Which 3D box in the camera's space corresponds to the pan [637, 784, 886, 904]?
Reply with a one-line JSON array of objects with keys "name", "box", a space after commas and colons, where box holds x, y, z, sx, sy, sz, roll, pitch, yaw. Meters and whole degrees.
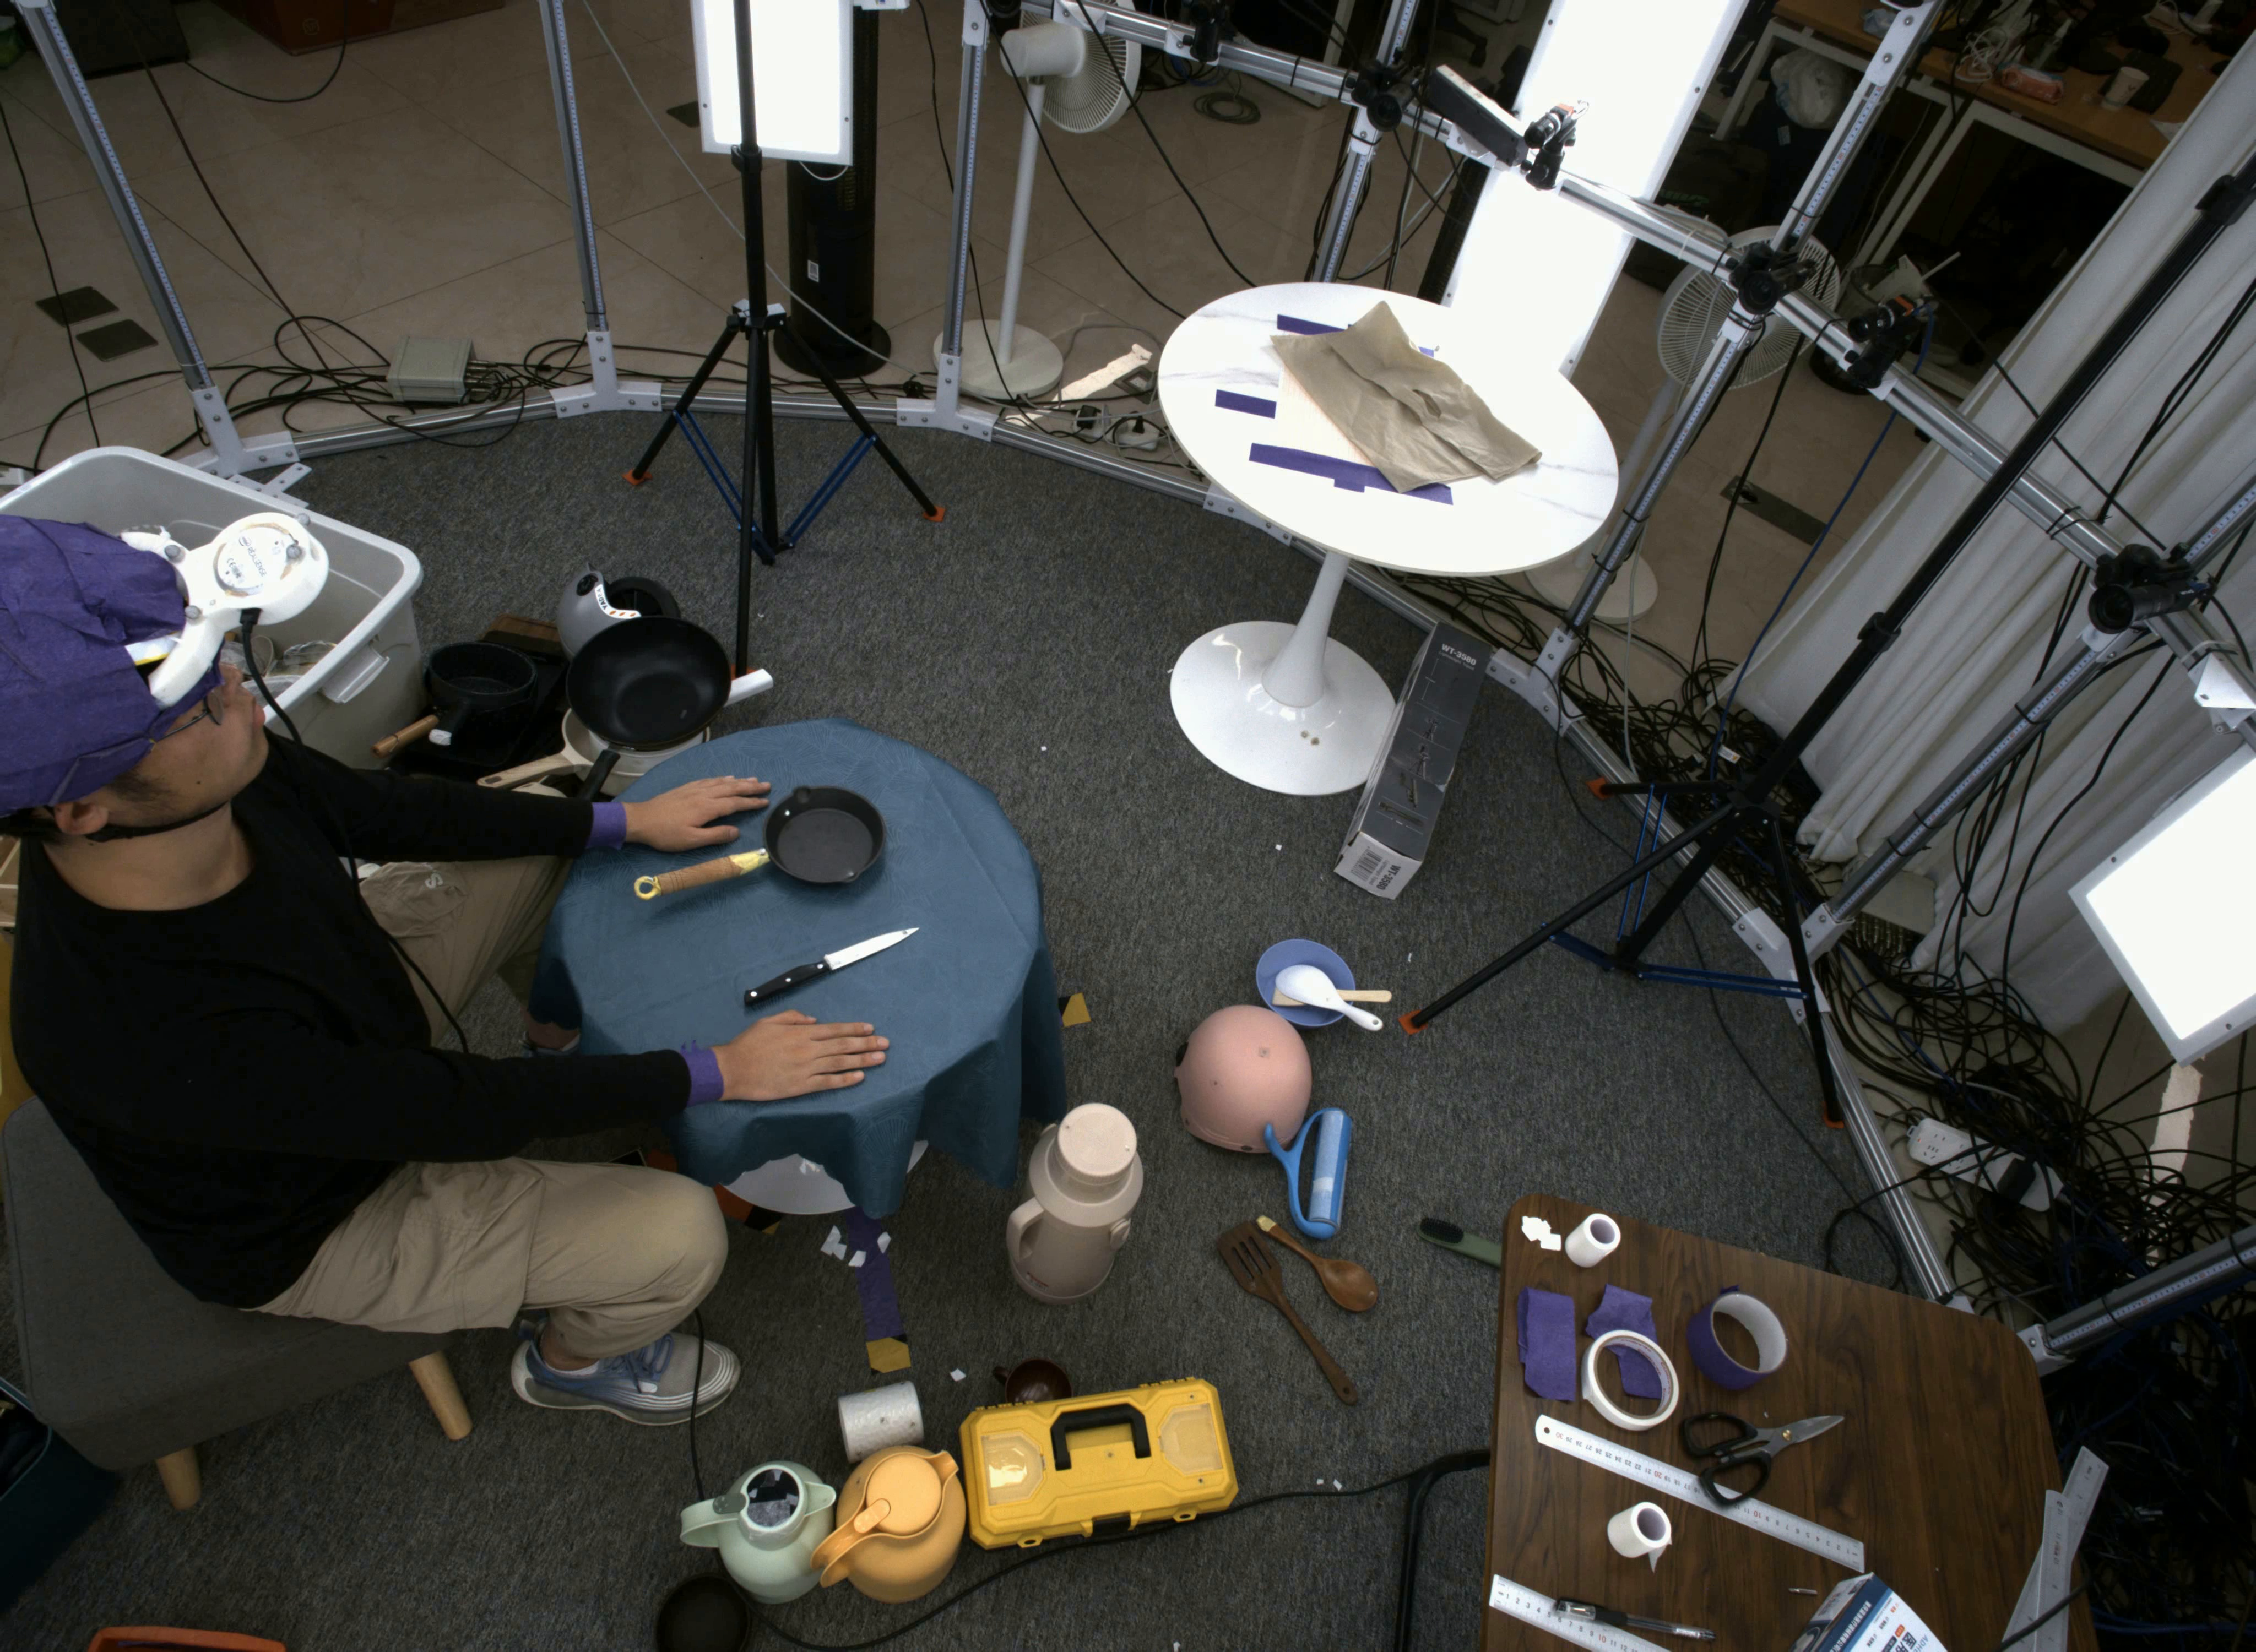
[{"name": "pan", "box": [-0.466, 0.038, 1.652, 0.326, 0.050, 0.164, -20, 61, -26]}]

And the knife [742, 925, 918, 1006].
[{"name": "knife", "box": [-0.362, 0.167, 1.605, 0.239, 0.016, 0.024, -23, 61, -31]}]
